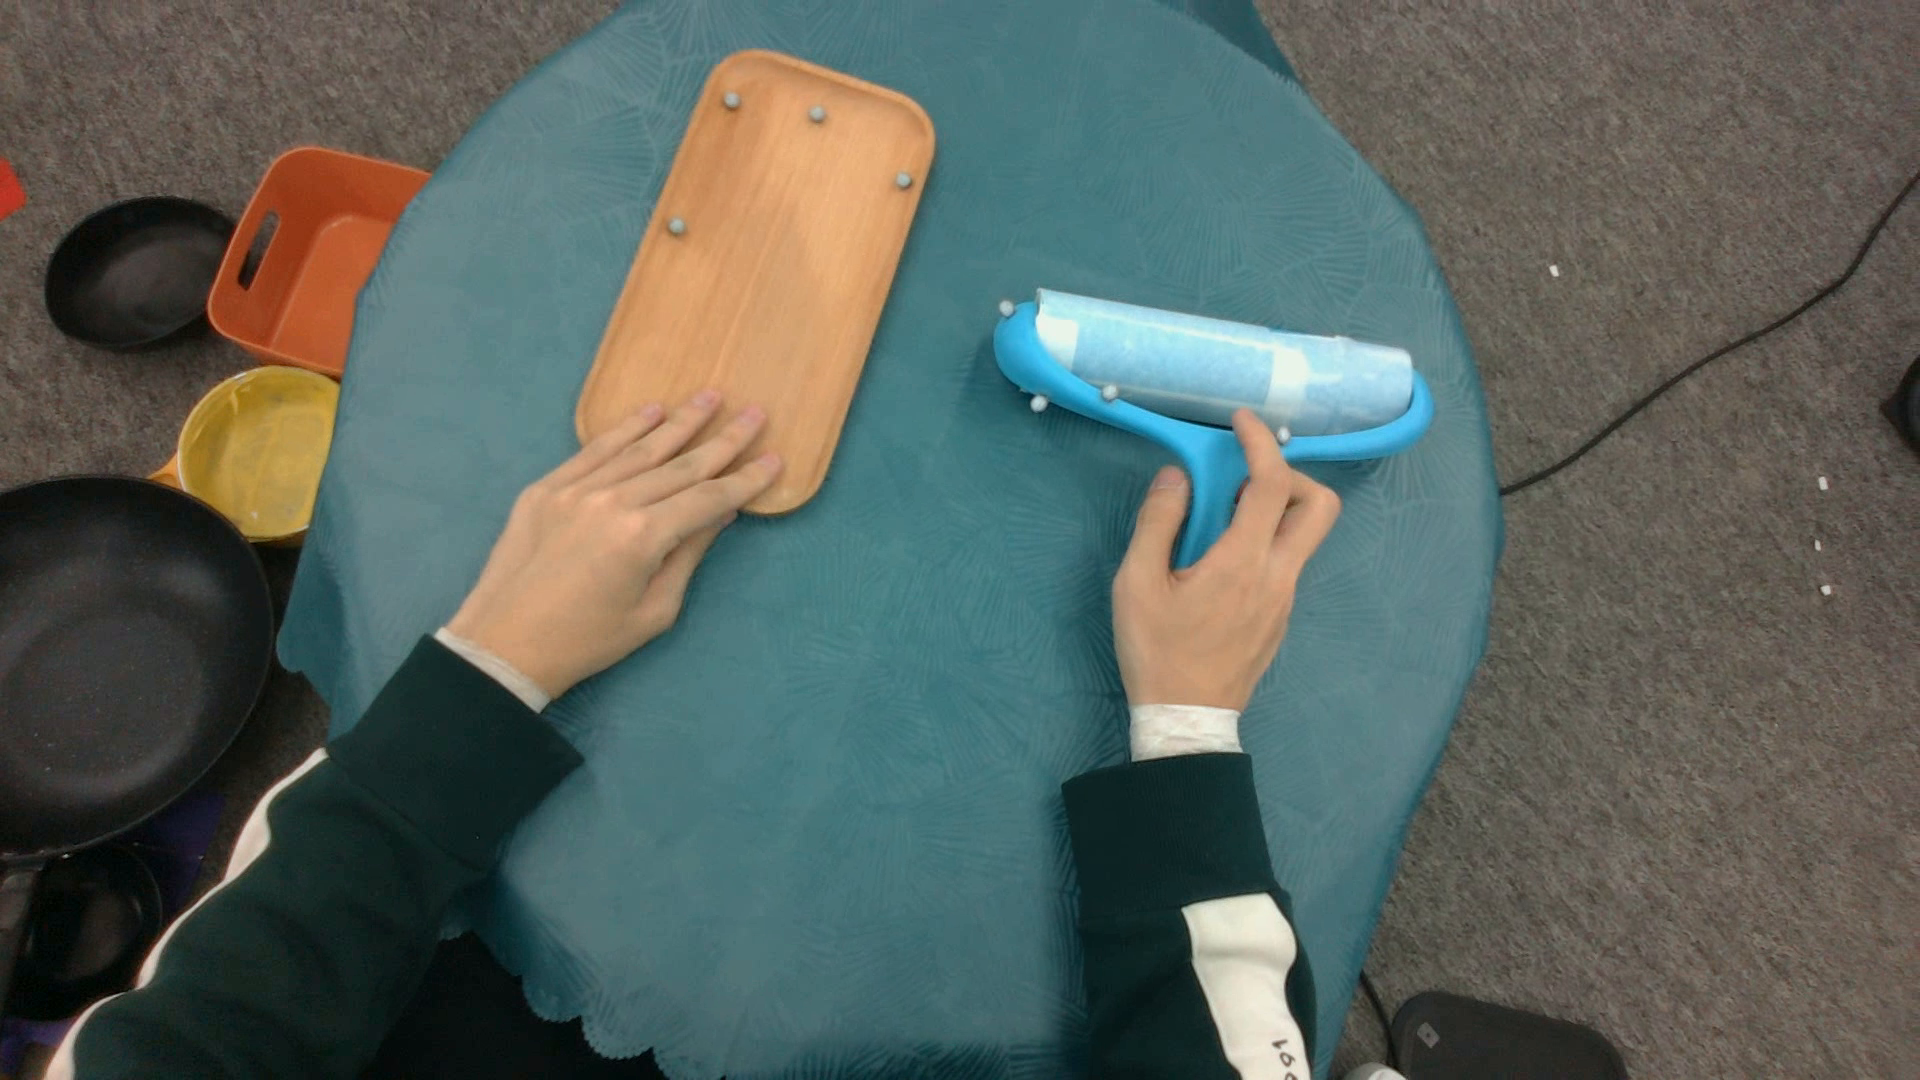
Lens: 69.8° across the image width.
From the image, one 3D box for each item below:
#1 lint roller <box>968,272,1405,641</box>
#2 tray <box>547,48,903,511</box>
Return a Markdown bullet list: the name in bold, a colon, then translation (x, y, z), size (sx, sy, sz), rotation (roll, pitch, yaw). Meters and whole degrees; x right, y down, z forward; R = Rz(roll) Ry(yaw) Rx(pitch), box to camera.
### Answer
- **lint roller**: translation (0.115, -0.043, 0.694), size (0.229, 0.067, 0.181), rotation (5, 71, -8)
- **tray**: translation (-0.117, -0.139, 0.713), size (0.130, 0.023, 0.251), rotation (15, 72, -1)
